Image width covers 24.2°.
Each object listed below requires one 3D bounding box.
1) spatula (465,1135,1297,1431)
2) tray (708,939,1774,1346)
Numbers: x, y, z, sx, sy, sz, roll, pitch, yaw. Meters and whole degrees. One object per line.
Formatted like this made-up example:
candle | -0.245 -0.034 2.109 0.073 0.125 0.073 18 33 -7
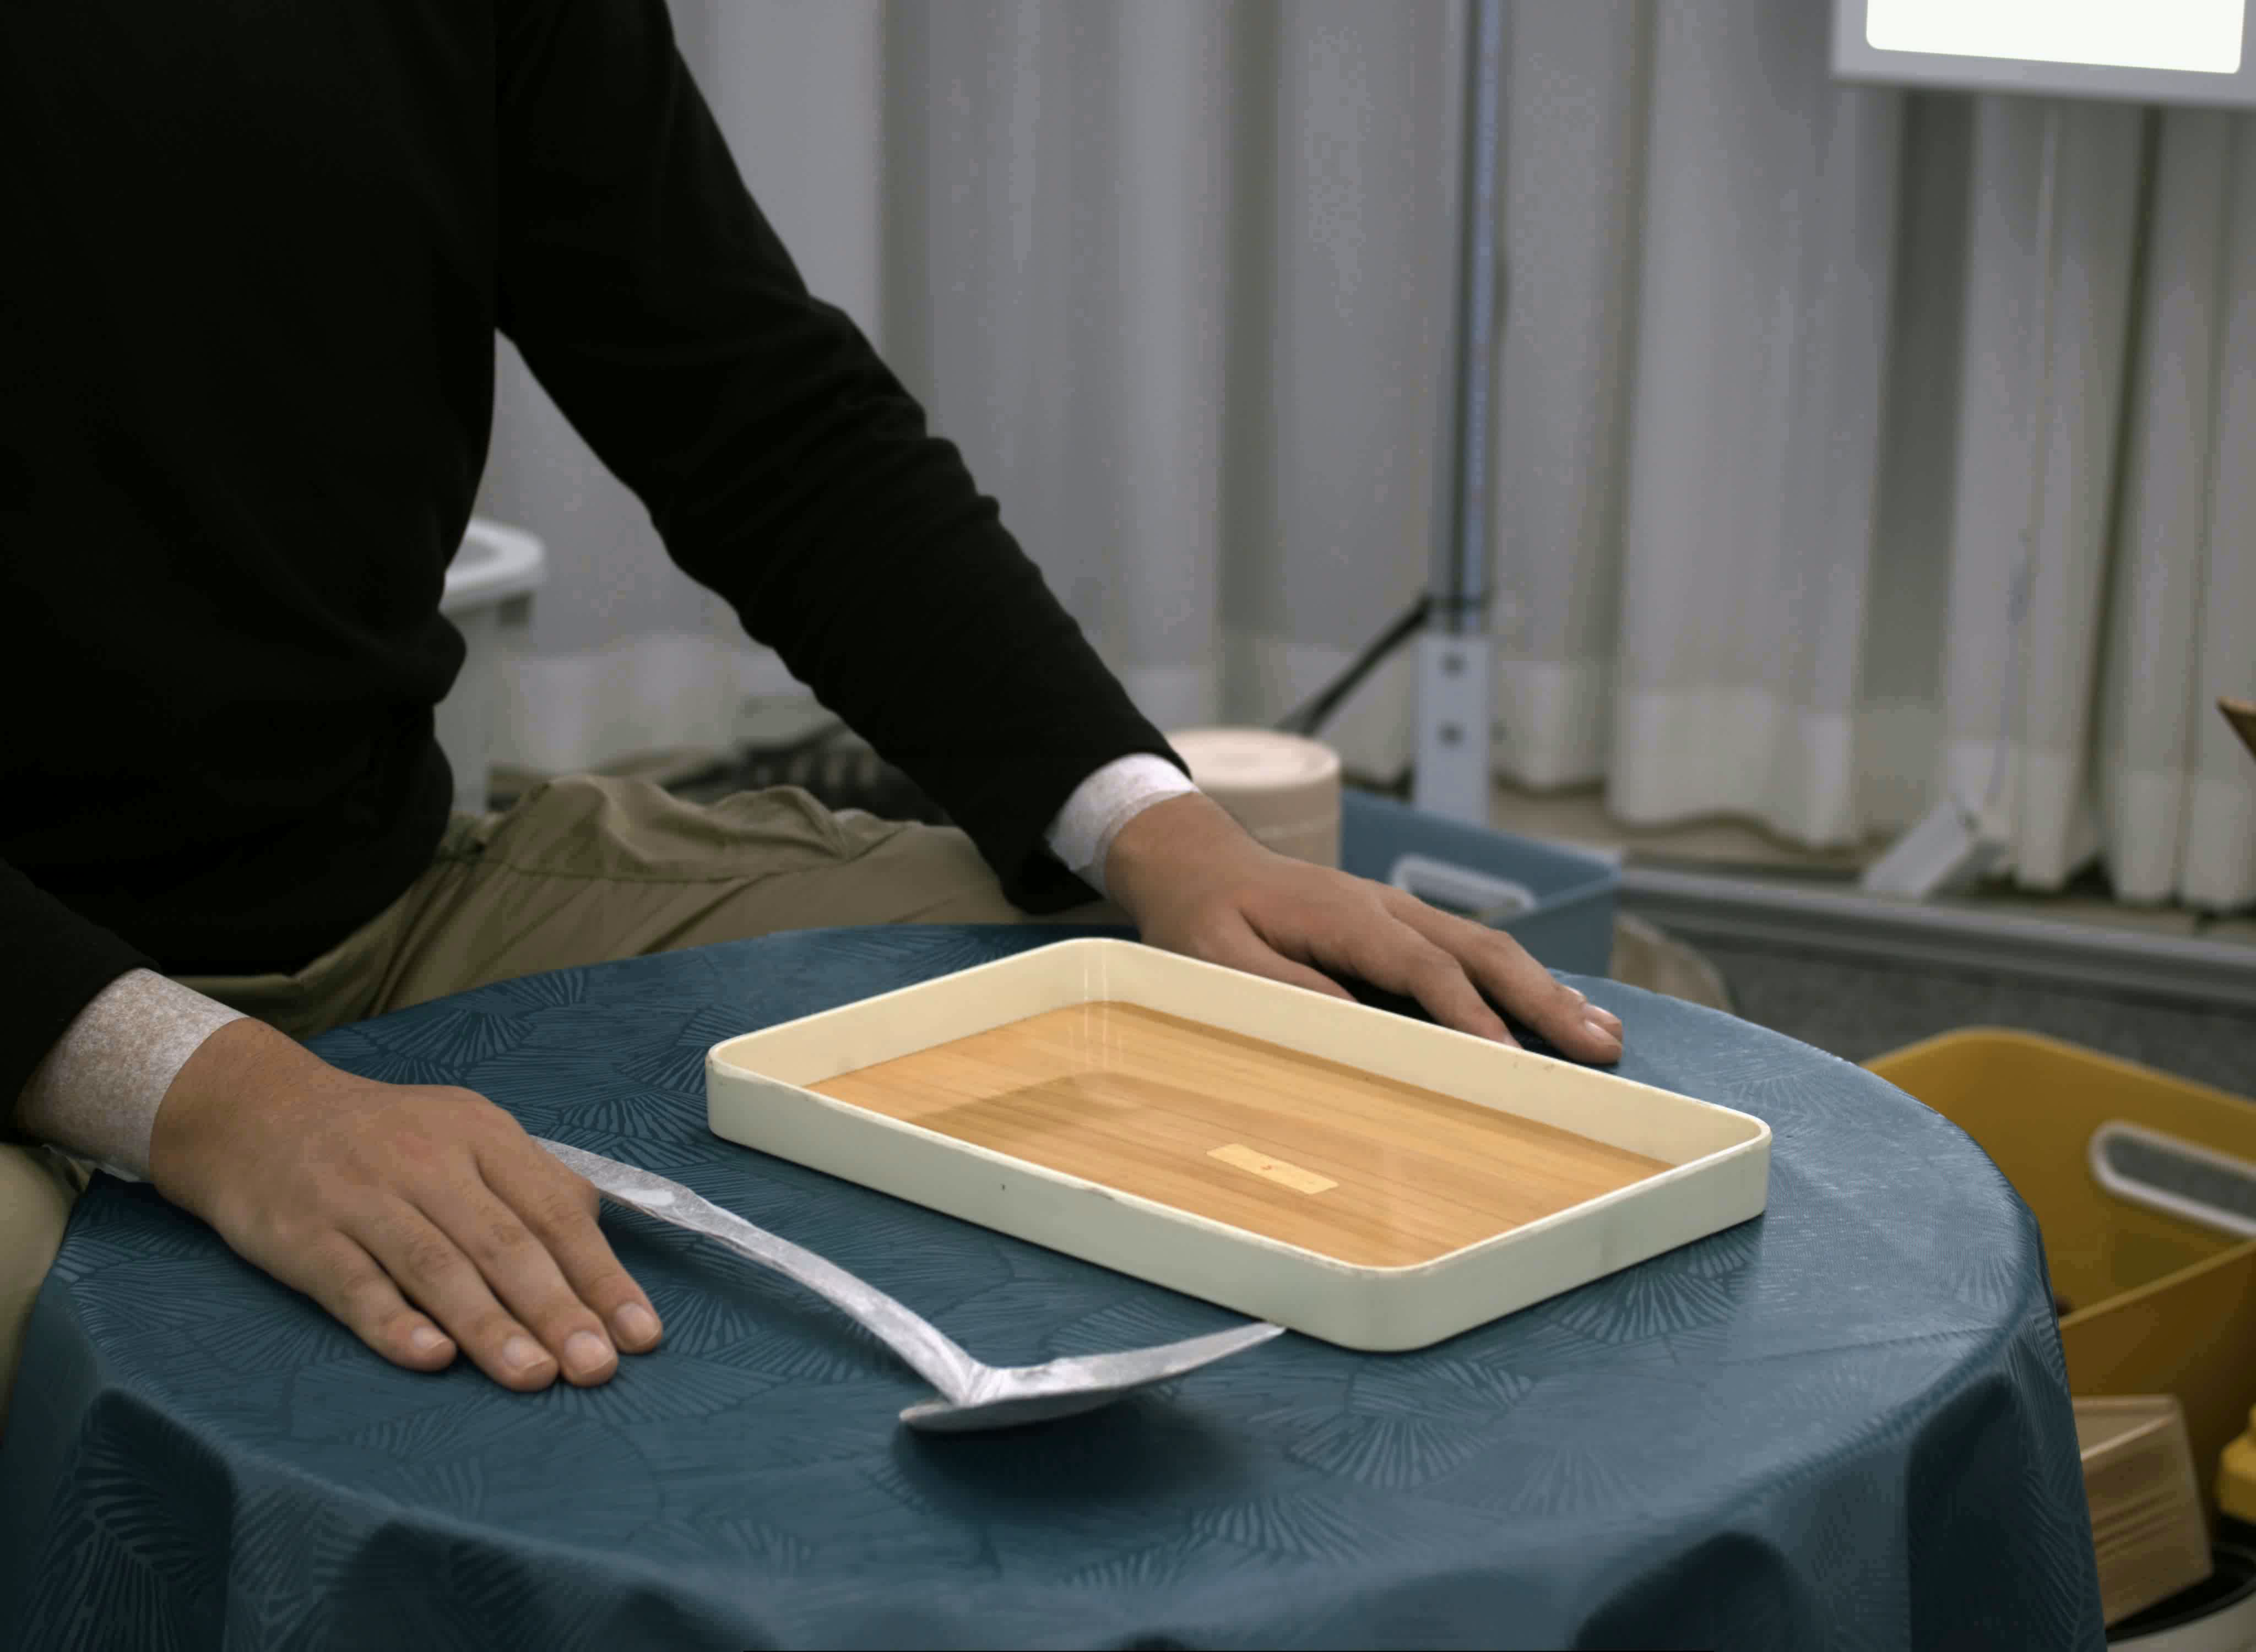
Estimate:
spatula | -0.096 0.121 1.514 0.099 0.045 0.360 -13 20 -38
tray | 0.032 0.094 1.638 0.296 0.027 0.192 15 21 42
